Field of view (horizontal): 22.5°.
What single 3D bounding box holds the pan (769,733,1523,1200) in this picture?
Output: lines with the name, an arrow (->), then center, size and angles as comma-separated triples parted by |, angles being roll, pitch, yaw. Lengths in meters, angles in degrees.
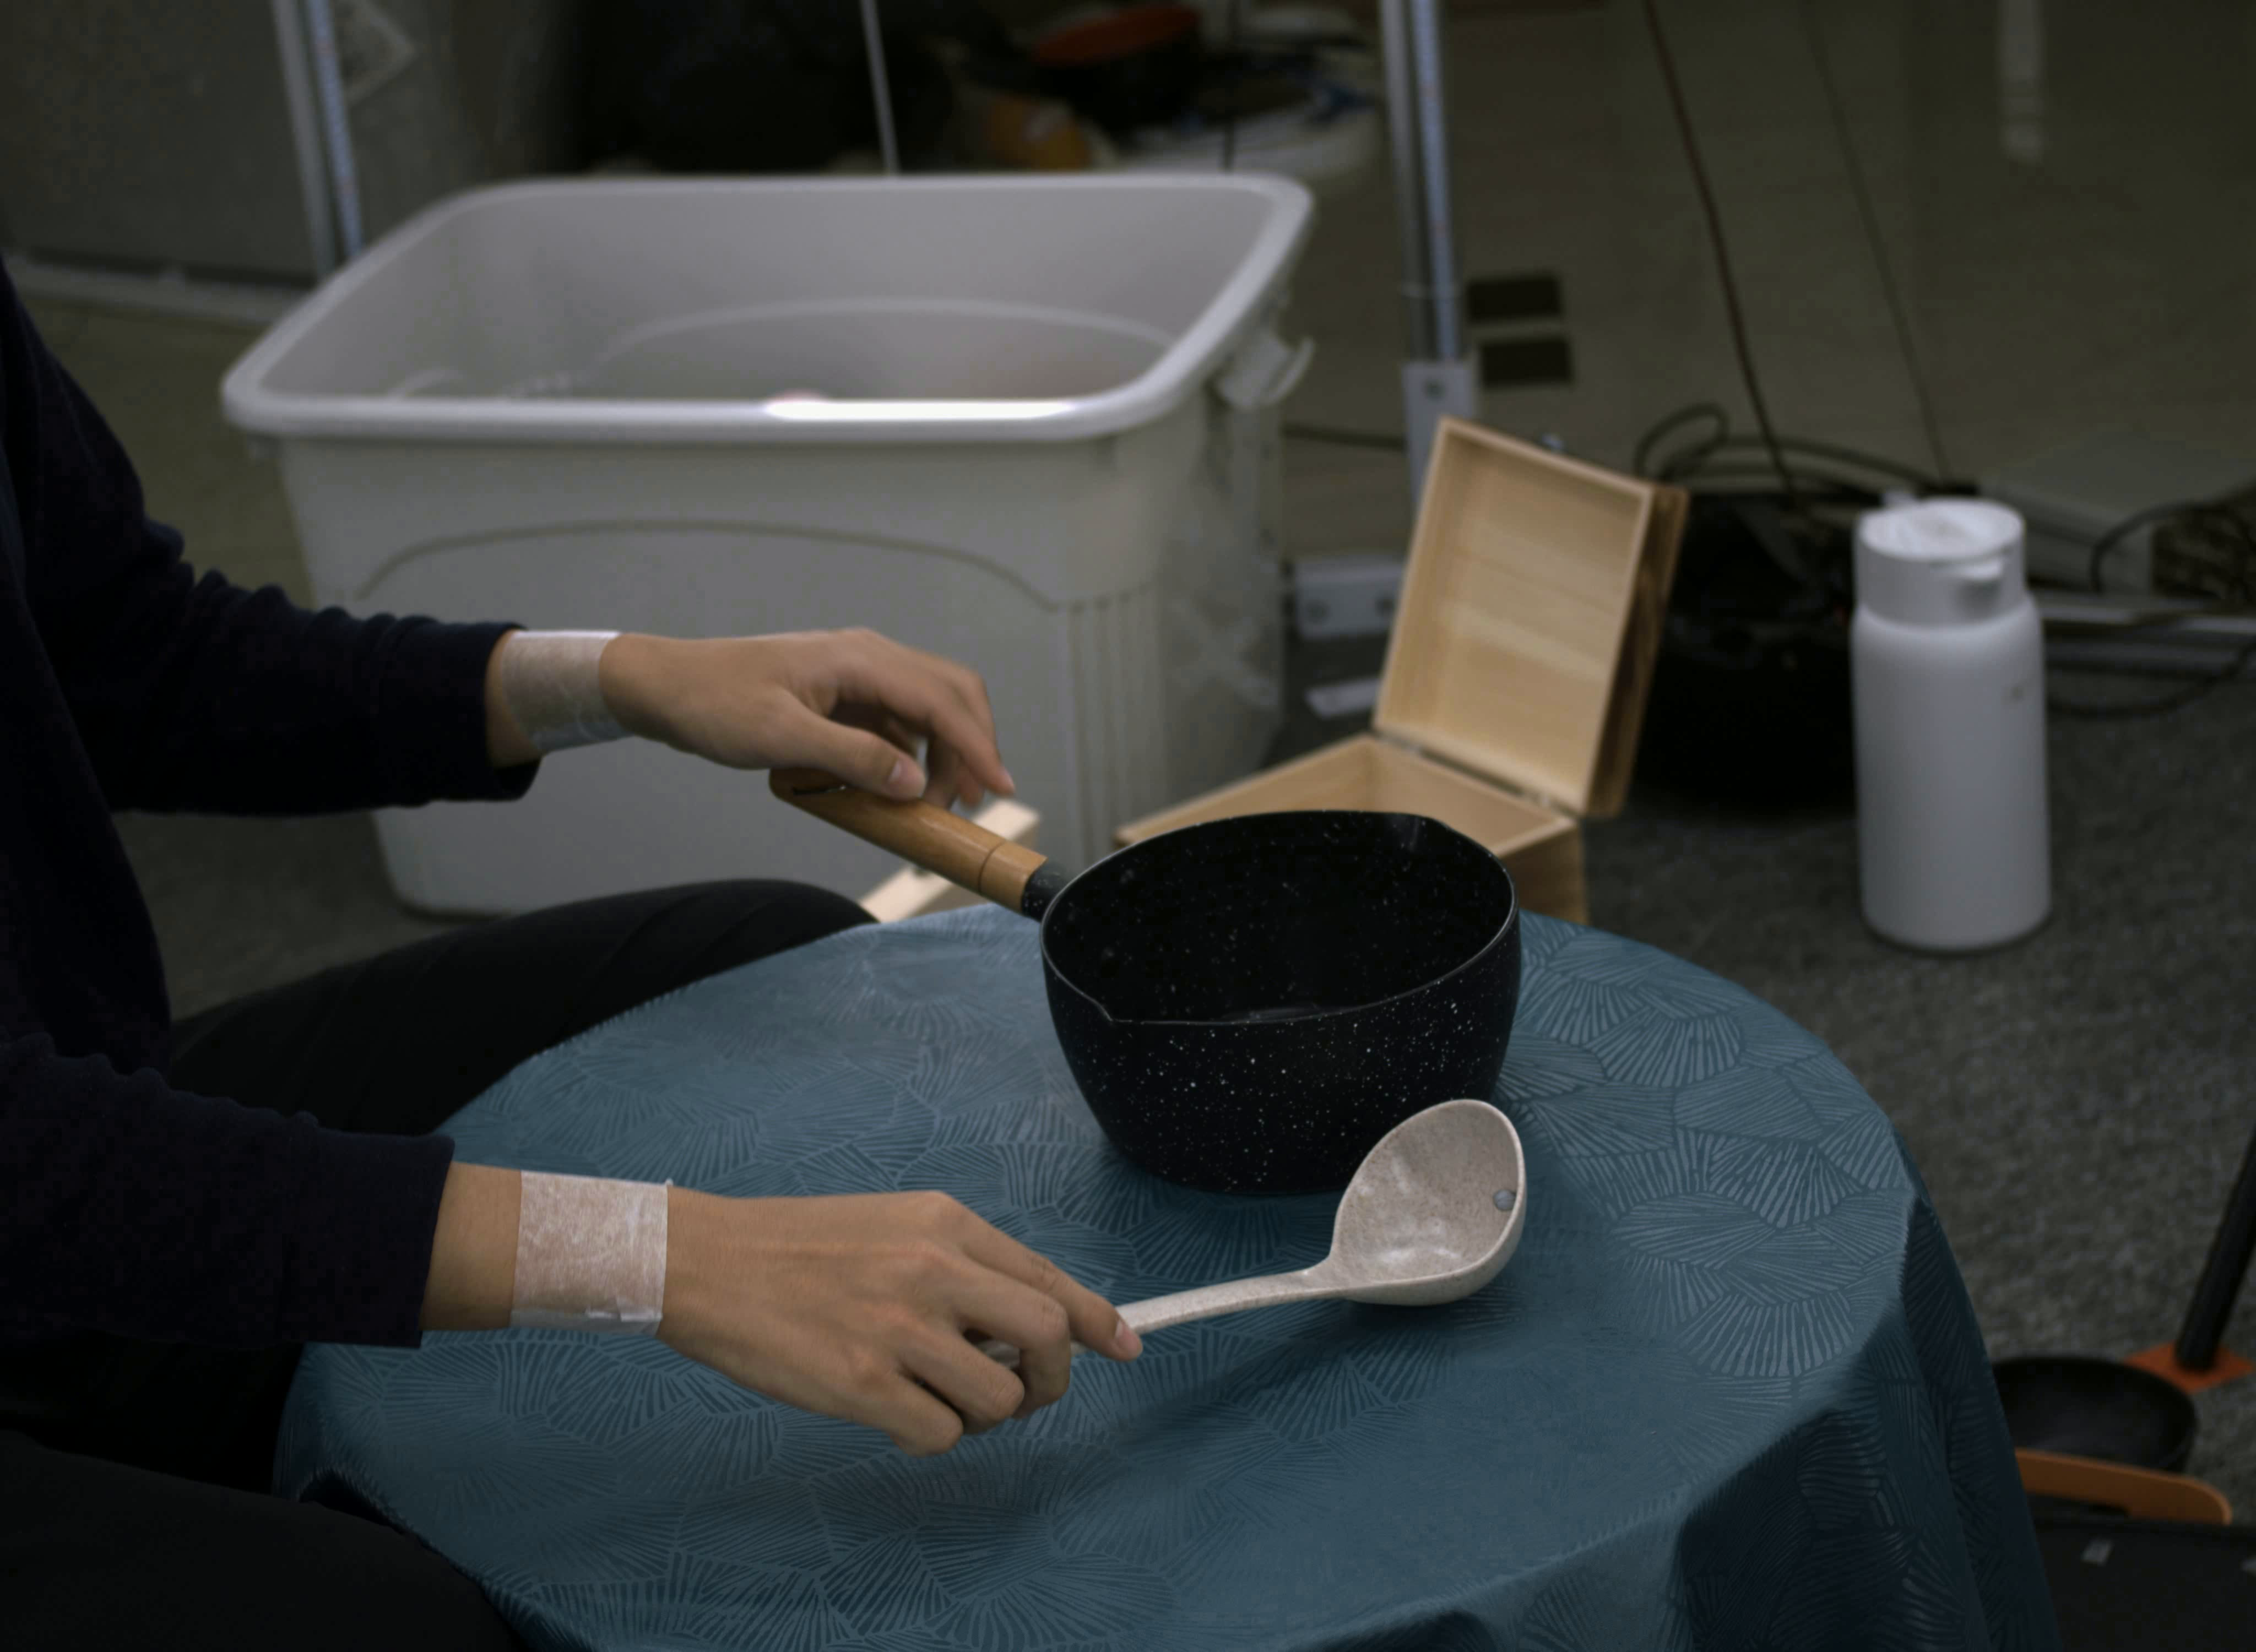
pan -> -0.003, 0.046, 2.217 | 0.341, 0.110, 0.205 | 14, 33, 34

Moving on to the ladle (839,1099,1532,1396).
ladle -> 0.020, 0.146, 1.983 | 0.274, 0.070, 0.088 | -6, 22, -33
